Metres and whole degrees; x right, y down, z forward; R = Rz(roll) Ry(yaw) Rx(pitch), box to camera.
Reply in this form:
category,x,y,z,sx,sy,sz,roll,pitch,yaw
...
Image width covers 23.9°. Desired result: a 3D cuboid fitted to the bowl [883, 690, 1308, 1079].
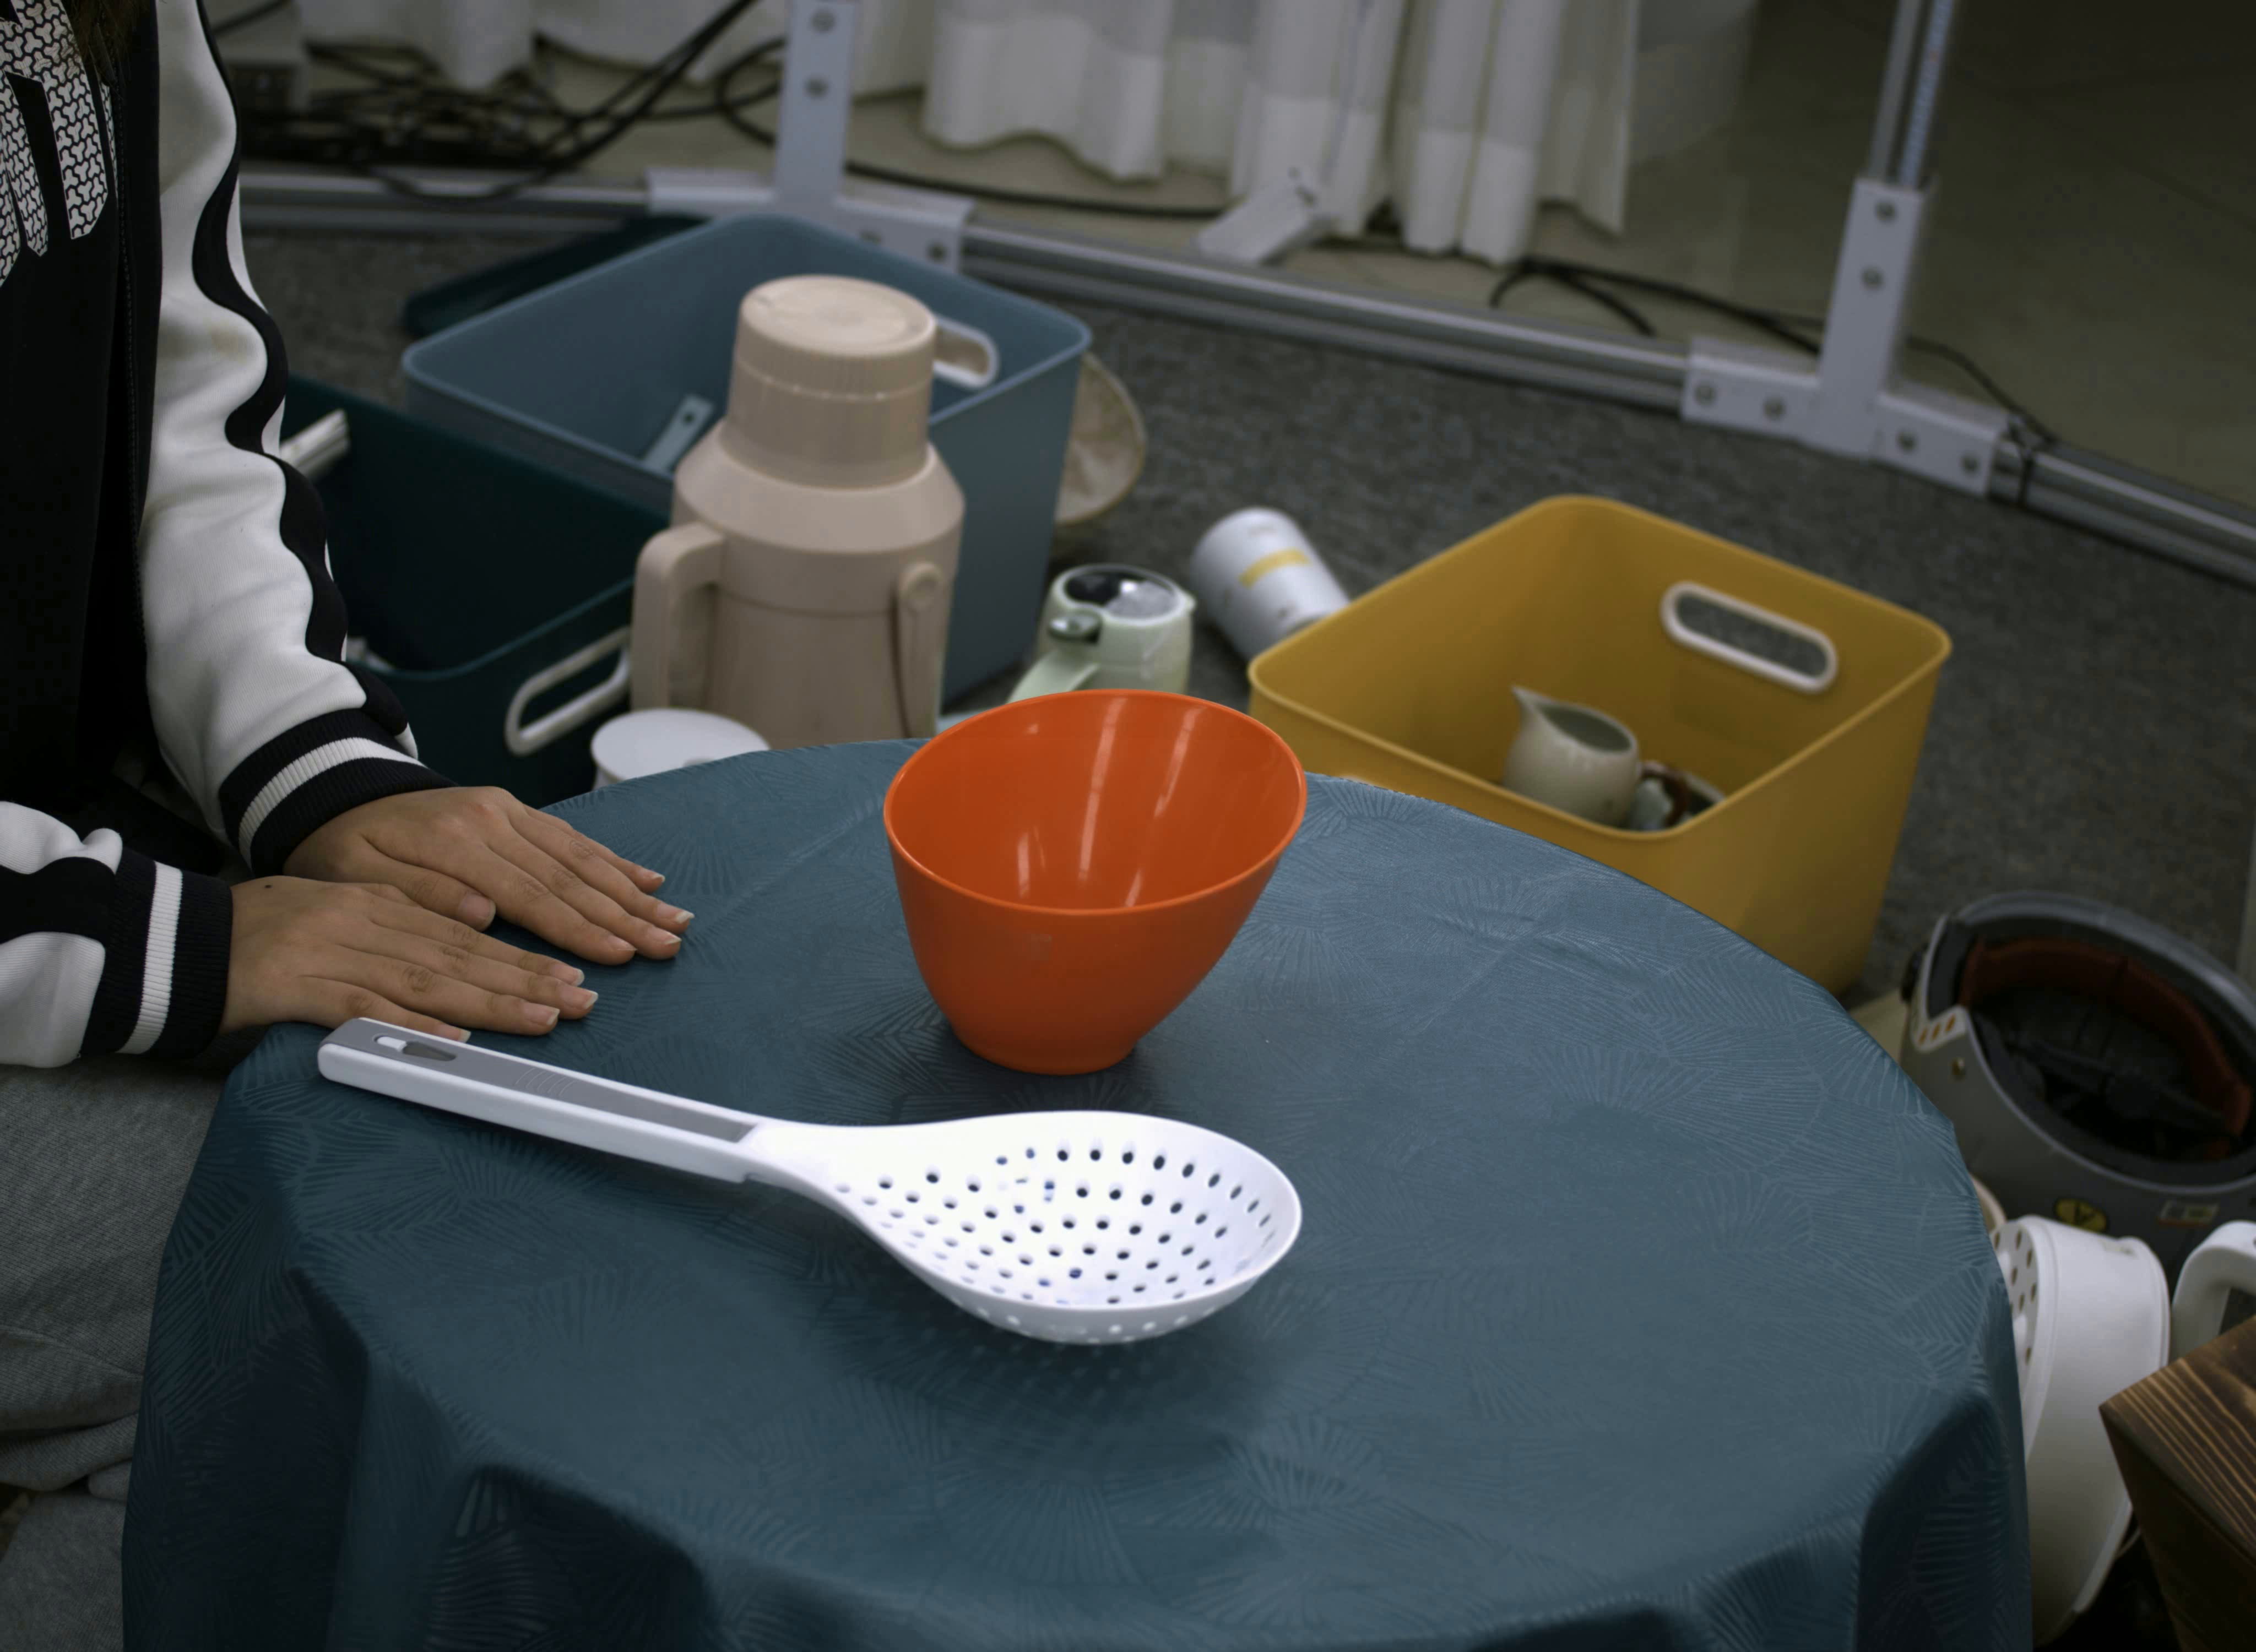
category,x,y,z,sx,sy,sz,roll,pitch,yaw
bowl,-0.015,0.027,1.878,0.147,0.104,0.149,5,29,-3

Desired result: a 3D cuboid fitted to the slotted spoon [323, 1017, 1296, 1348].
category,x,y,z,sx,sy,sz,roll,pitch,yaw
slotted spoon,-0.112,0.109,1.756,0.351,0.045,0.136,16,27,20
